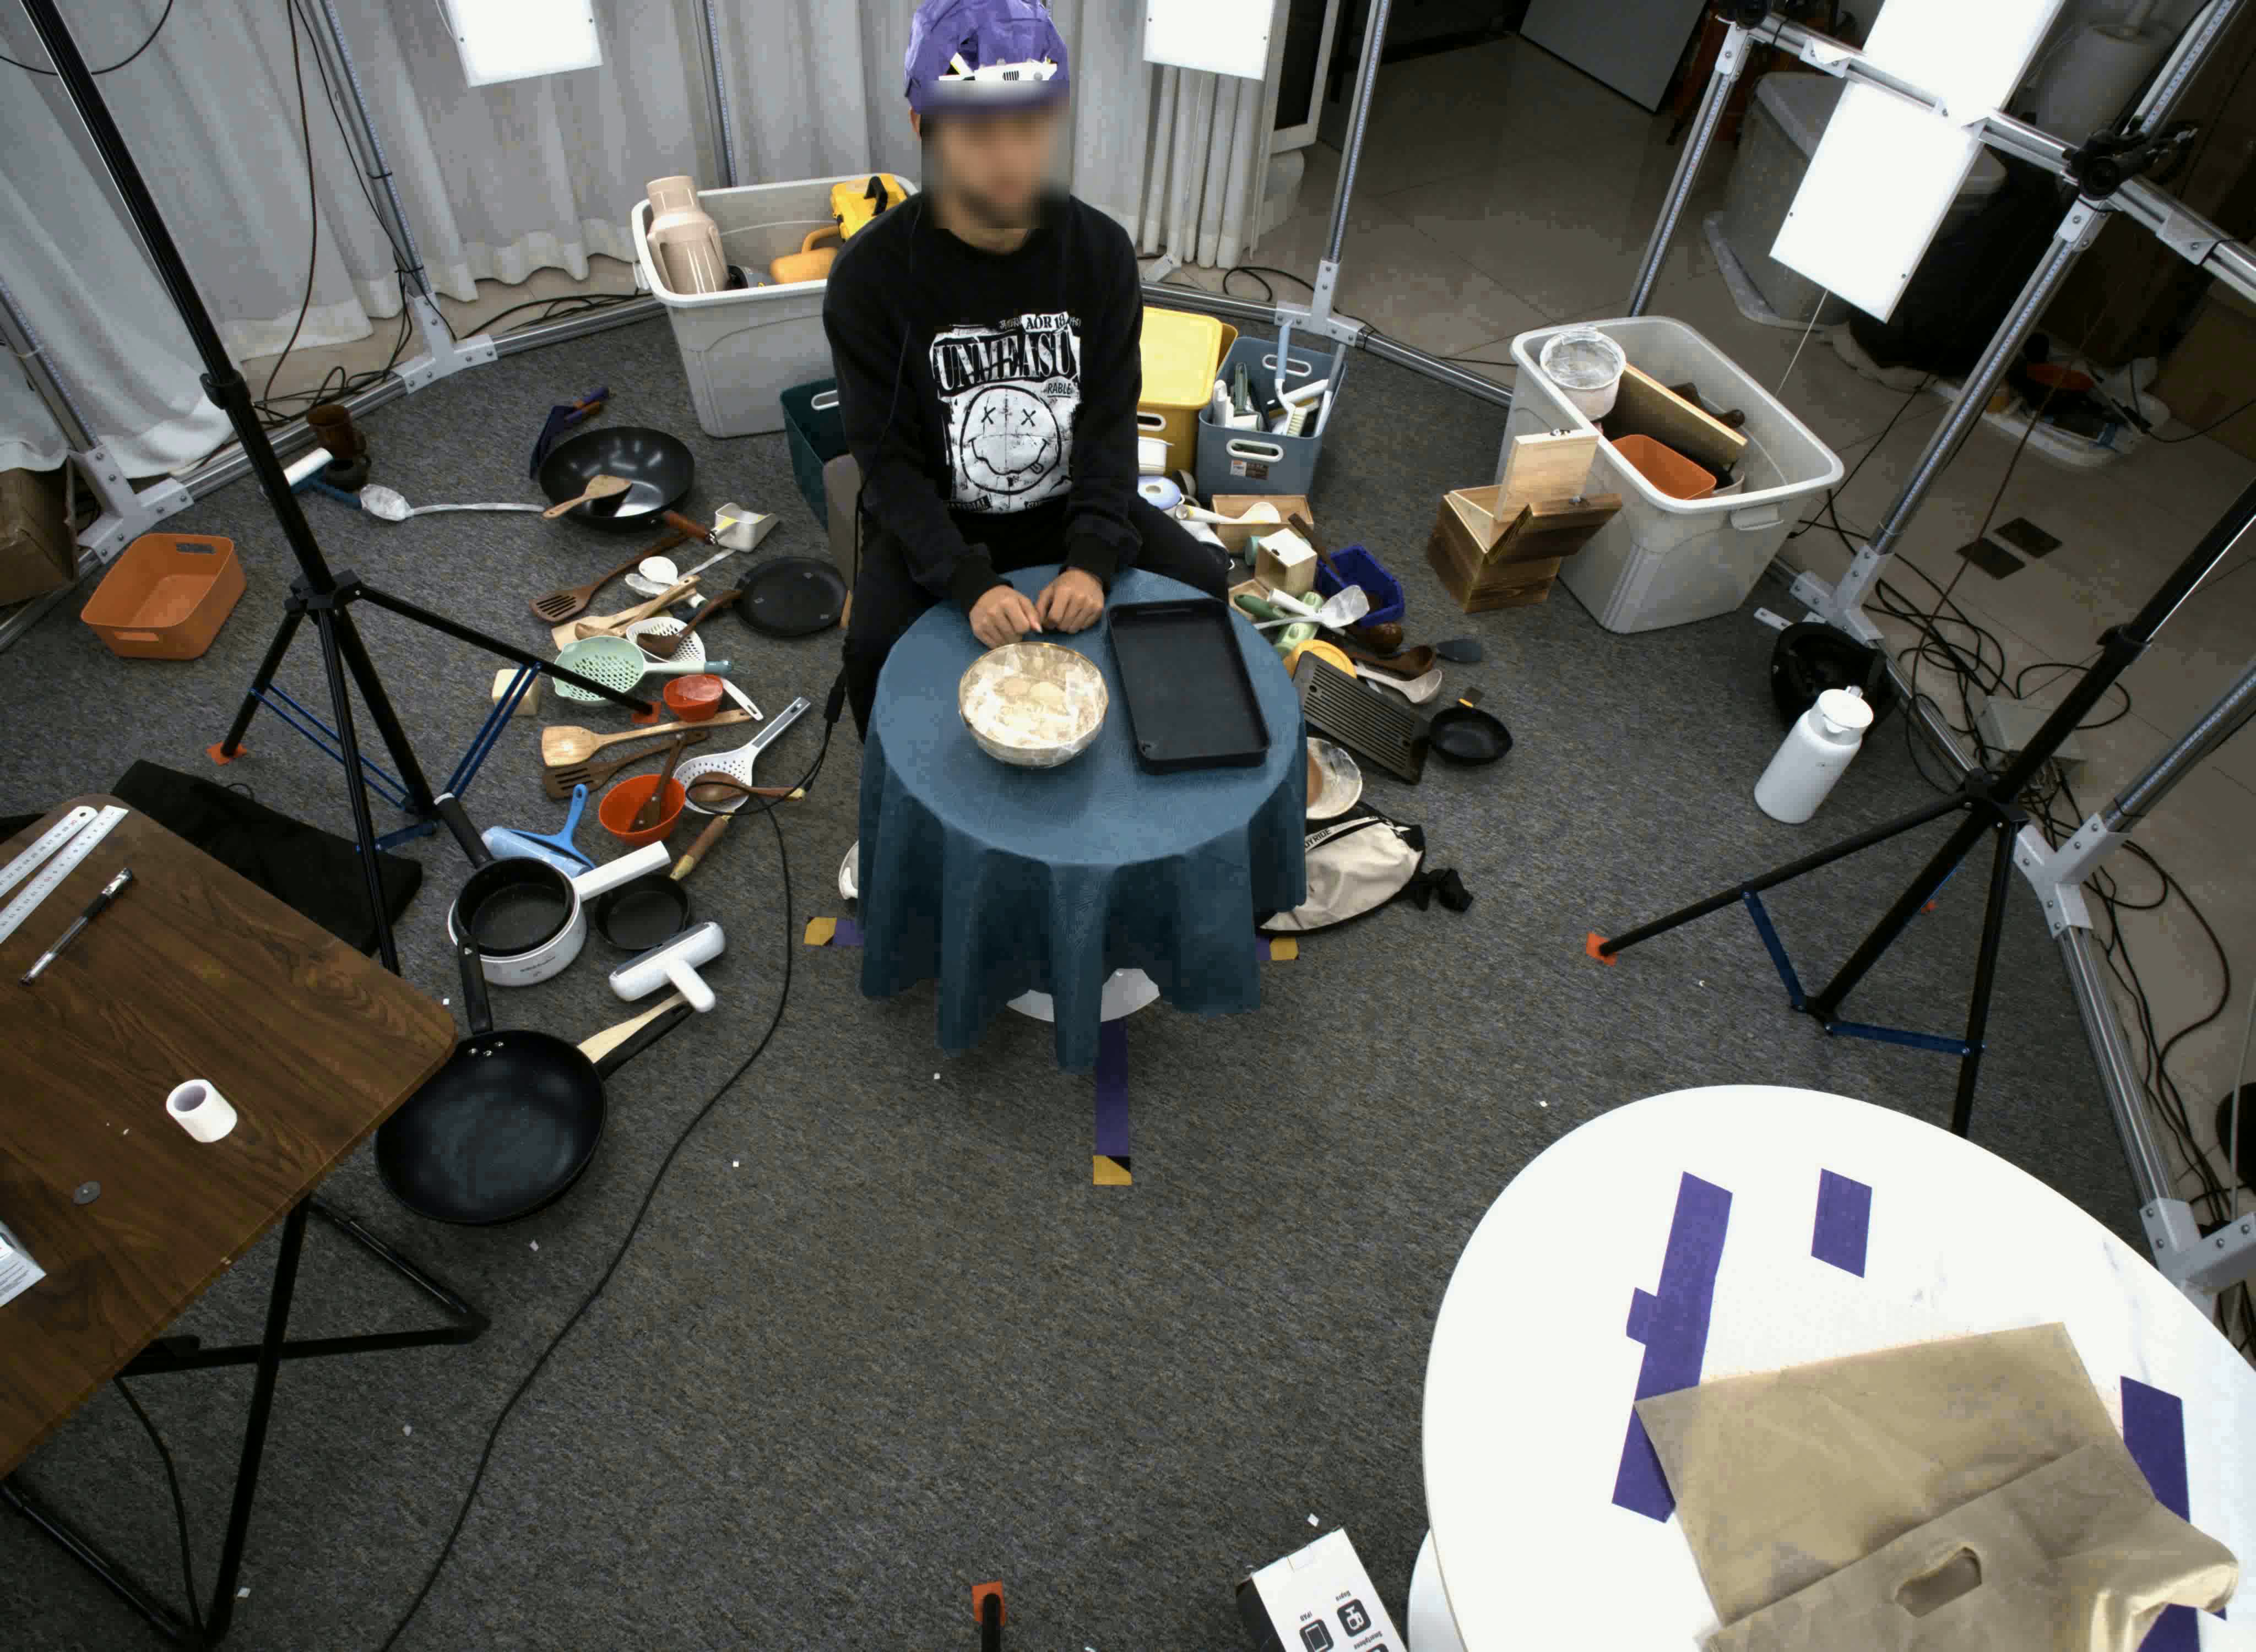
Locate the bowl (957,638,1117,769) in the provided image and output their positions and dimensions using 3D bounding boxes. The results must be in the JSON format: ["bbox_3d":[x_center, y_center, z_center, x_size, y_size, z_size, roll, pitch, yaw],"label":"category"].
[{"bbox_3d":[-0.125,-0.151,1.747,0.214,0.092,0.220,1,49,-2],"label":"bowl"}]

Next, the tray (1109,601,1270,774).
[{"bbox_3d":[0.083,-0.205,1.843,0.184,0.036,0.326,-5,48,-7],"label":"tray"}]
